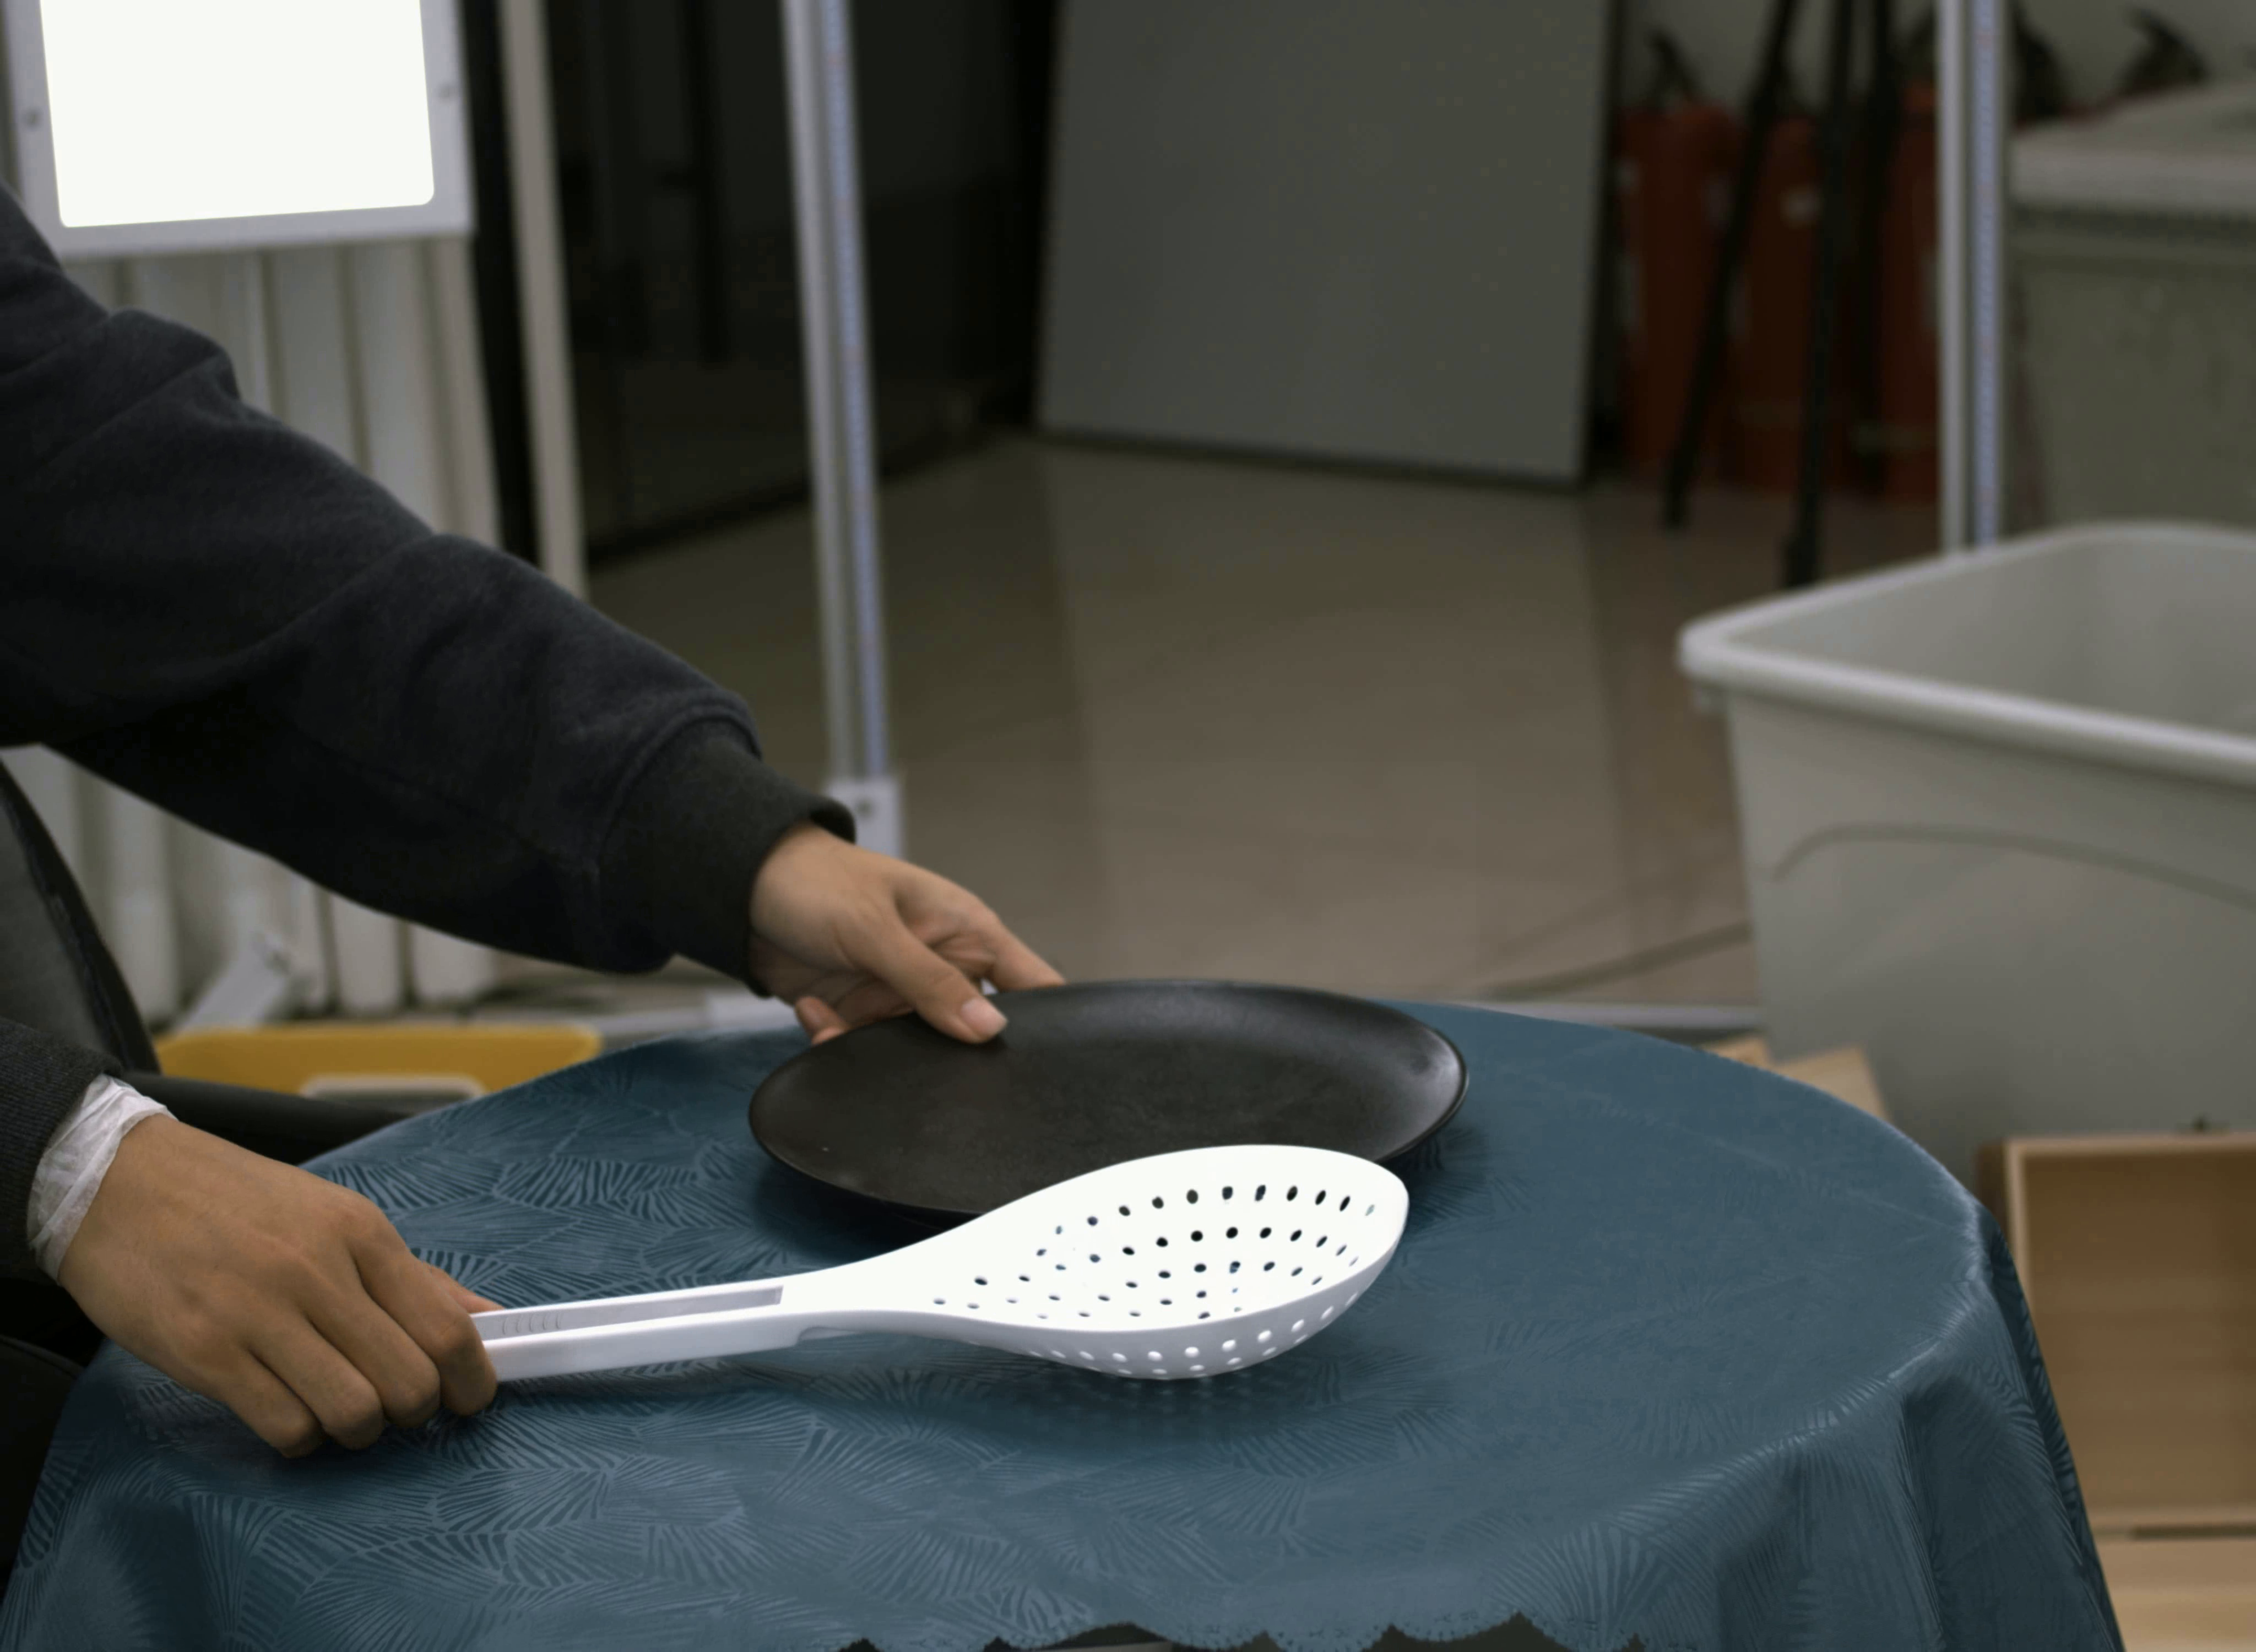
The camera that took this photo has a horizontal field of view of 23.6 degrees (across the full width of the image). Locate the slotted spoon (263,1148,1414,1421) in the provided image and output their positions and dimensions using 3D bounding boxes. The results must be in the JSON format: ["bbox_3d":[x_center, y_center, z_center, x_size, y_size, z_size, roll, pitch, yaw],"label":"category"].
[{"bbox_3d":[-0.086,0.143,1.606,0.346,0.046,0.136,-4,15,3],"label":"slotted spoon"}]

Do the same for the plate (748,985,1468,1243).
[{"bbox_3d":[-0.006,0.100,1.800,0.241,0.024,0.245,-4,15,0],"label":"plate"}]
